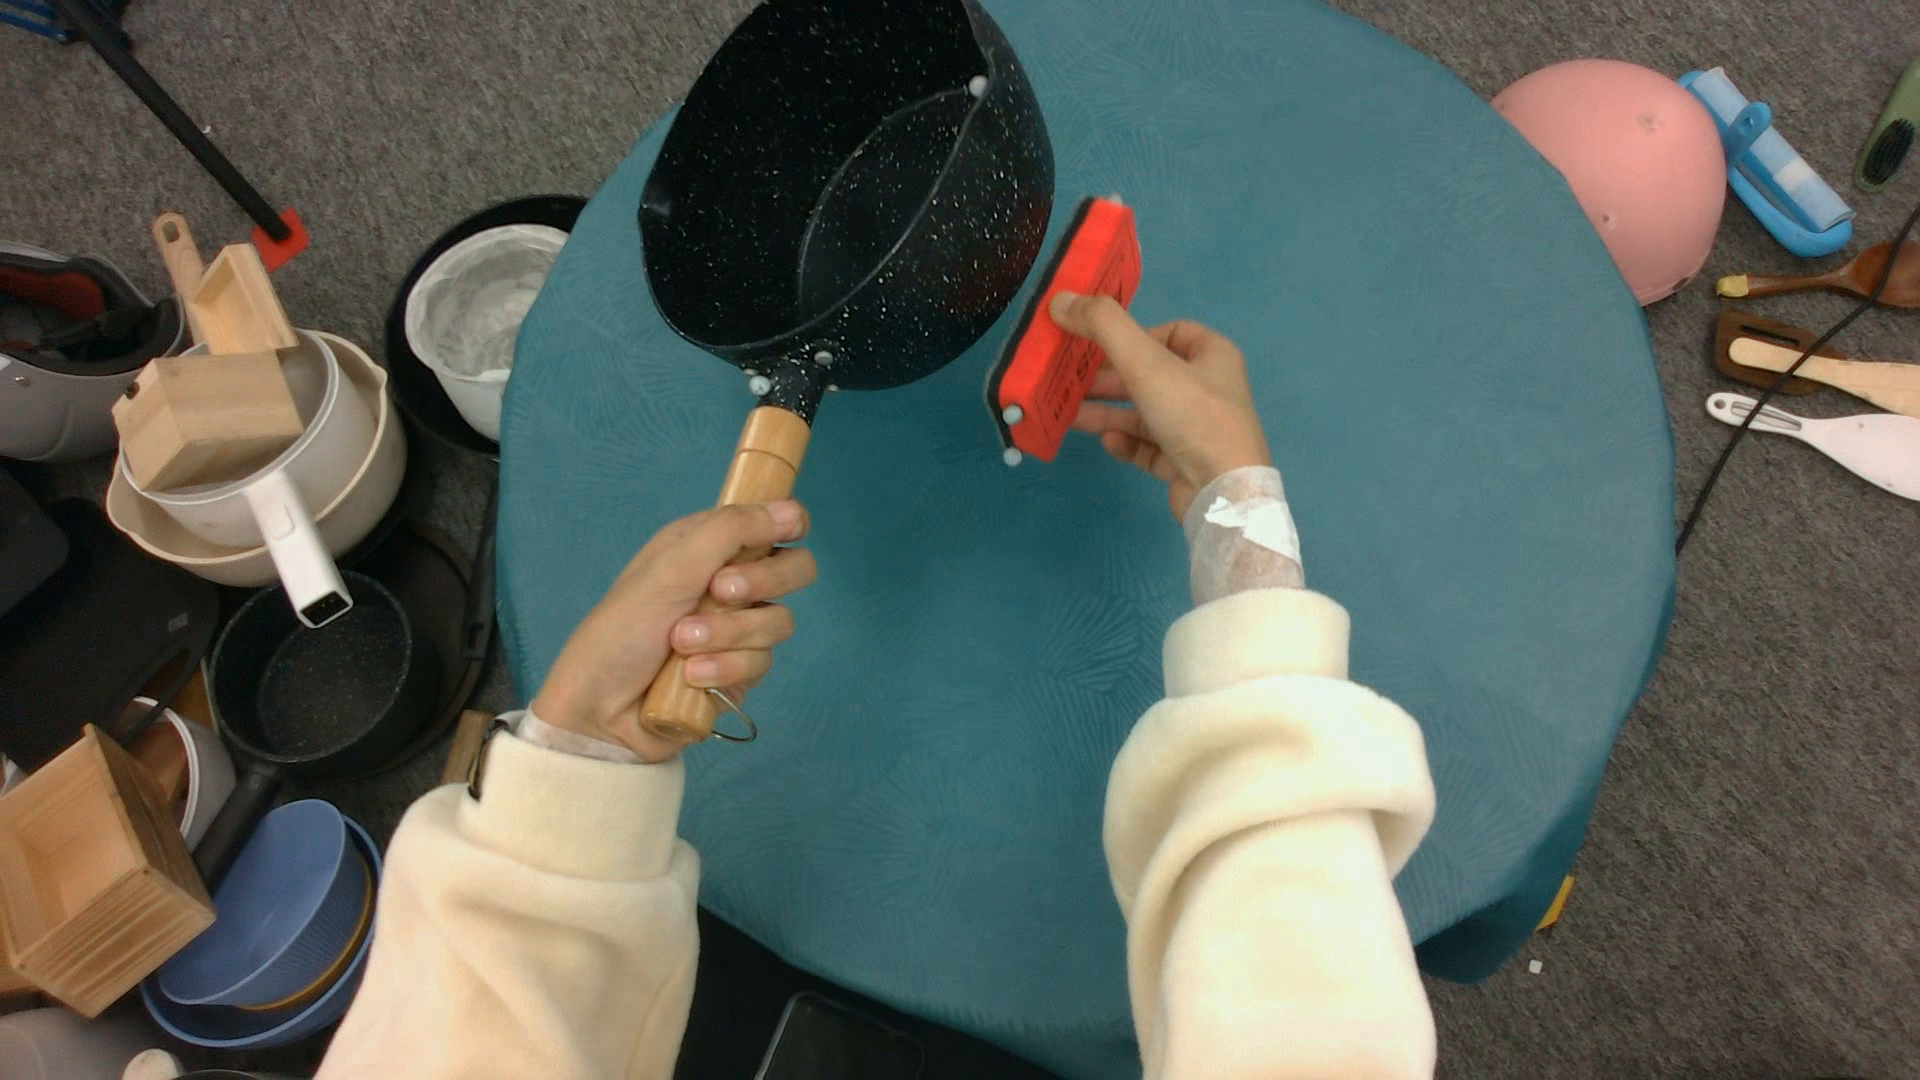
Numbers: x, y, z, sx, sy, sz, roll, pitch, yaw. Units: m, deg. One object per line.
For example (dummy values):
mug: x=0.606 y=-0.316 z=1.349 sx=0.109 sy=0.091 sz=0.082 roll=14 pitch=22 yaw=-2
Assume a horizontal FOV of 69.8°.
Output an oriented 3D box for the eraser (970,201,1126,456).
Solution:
eraser: x=0.041 y=-0.094 z=0.613 sx=0.023 sy=0.059 sz=0.108 roll=20 pitch=69 yaw=21

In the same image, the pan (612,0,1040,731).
pan: x=-0.063 y=-0.084 z=0.561 sx=0.207 sy=0.108 sz=0.344 roll=-10 pitch=66 yaw=36
